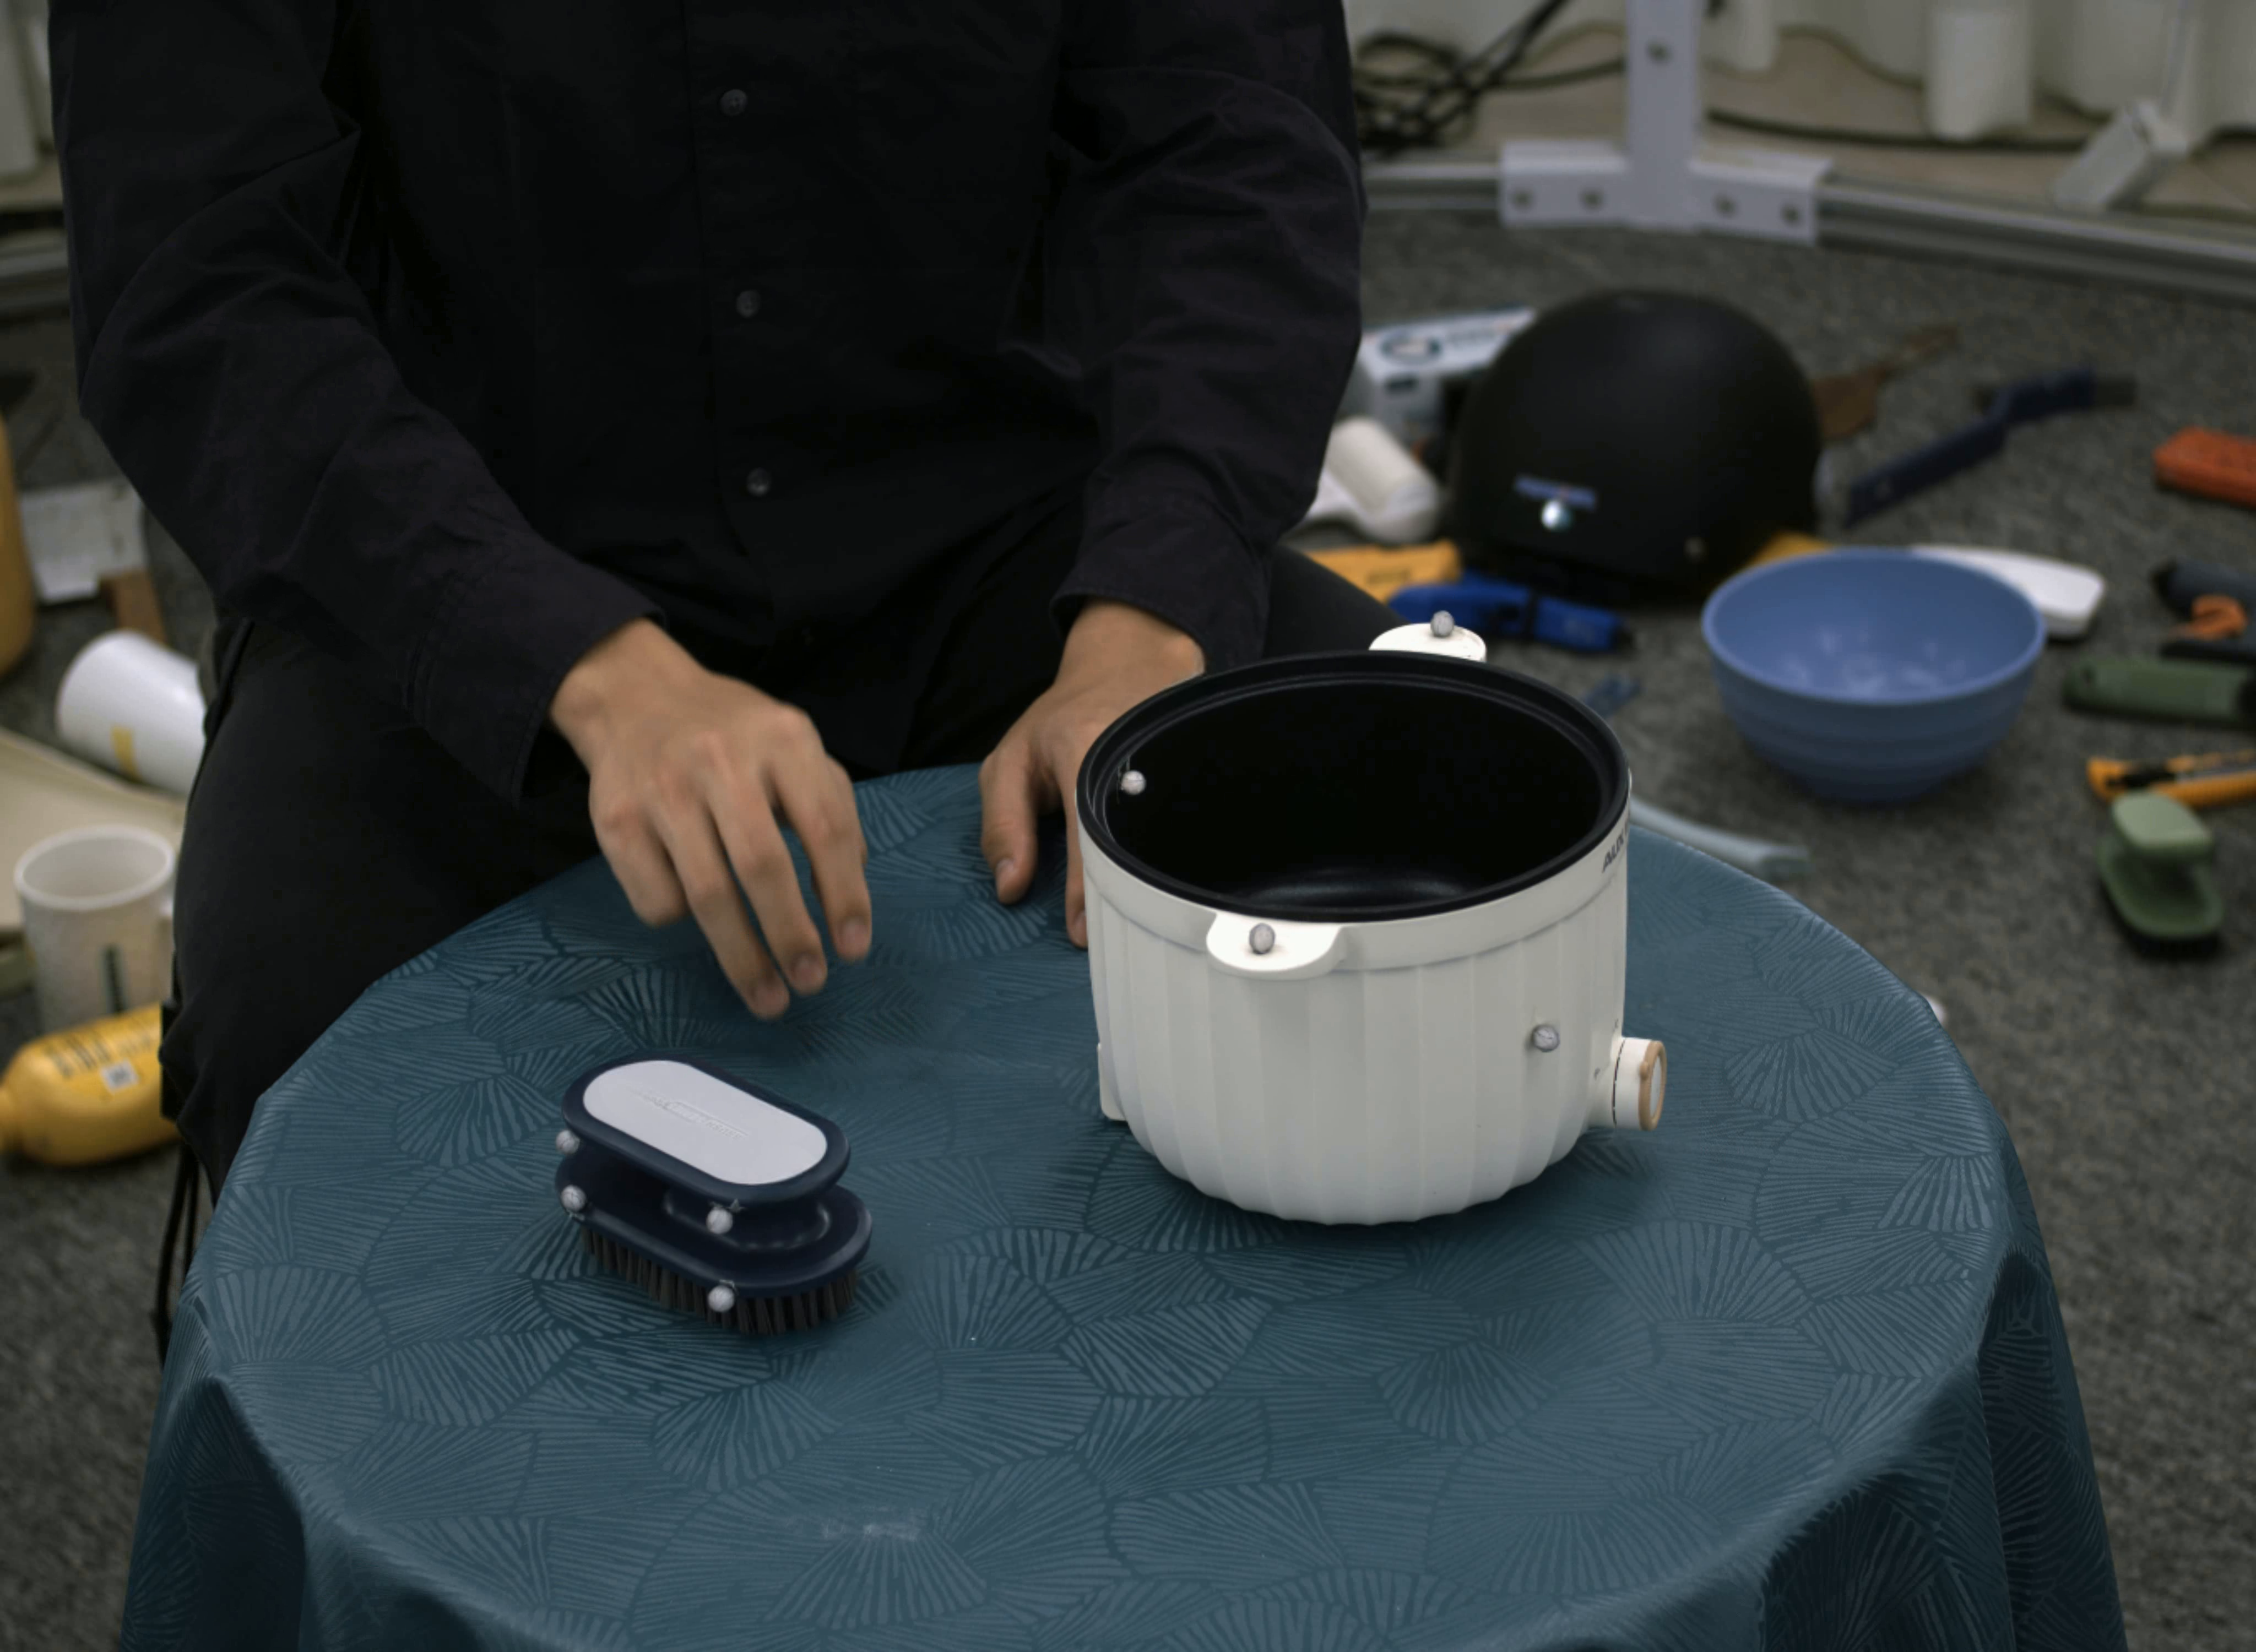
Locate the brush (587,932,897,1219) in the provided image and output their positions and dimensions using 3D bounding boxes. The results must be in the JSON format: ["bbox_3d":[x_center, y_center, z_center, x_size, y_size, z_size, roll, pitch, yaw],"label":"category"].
[{"bbox_3d":[-0.127,0.084,1.840,0.068,0.060,0.121,-27,38,-34],"label":"brush"}]

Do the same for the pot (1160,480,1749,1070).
[{"bbox_3d":[0.110,-0.009,1.883,0.189,0.141,0.245,2,29,16],"label":"pot"}]
